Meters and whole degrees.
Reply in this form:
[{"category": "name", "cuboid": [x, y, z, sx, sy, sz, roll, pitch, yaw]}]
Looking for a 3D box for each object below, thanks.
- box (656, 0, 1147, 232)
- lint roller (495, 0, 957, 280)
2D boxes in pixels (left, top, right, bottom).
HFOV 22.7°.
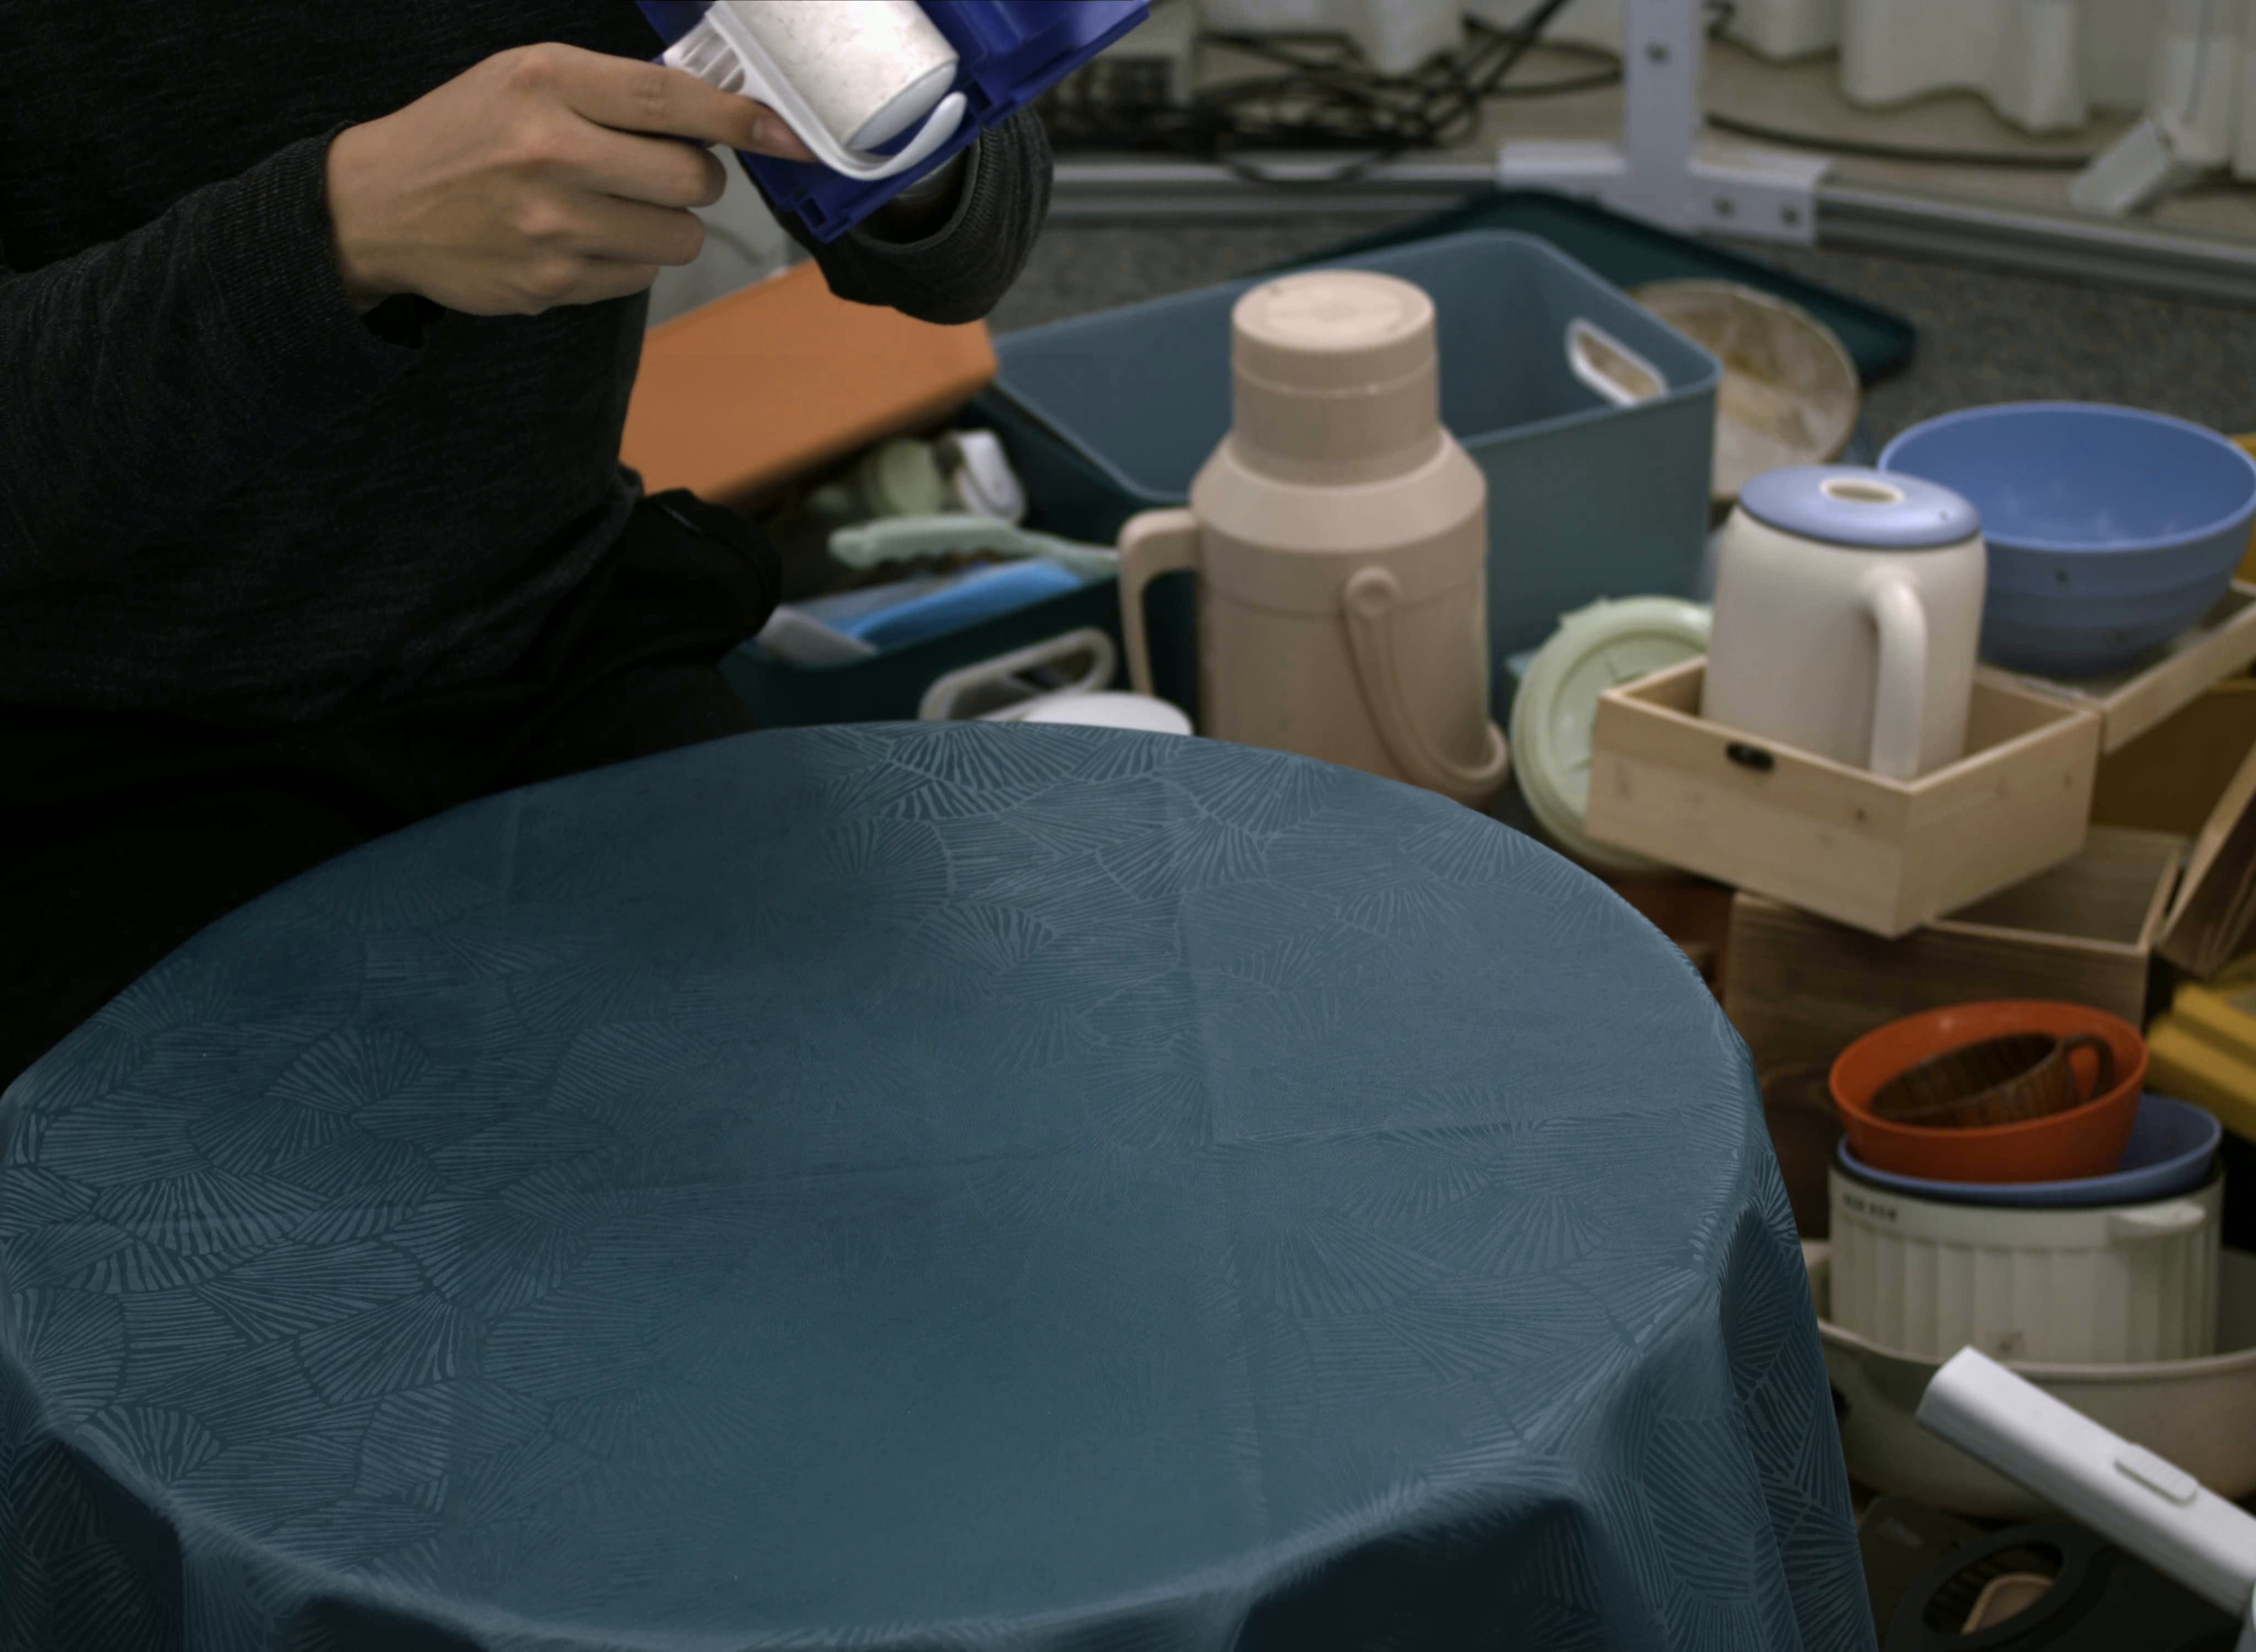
[{"category": "box", "cuboid": [-0.069, -0.283, 1.809, 0.083, 0.124, 0.176, -39, 6, -39]}, {"category": "lint roller", "cuboid": [-0.149, -0.229, 1.776, 0.178, 0.133, 0.051, -37, -1, 26]}]
